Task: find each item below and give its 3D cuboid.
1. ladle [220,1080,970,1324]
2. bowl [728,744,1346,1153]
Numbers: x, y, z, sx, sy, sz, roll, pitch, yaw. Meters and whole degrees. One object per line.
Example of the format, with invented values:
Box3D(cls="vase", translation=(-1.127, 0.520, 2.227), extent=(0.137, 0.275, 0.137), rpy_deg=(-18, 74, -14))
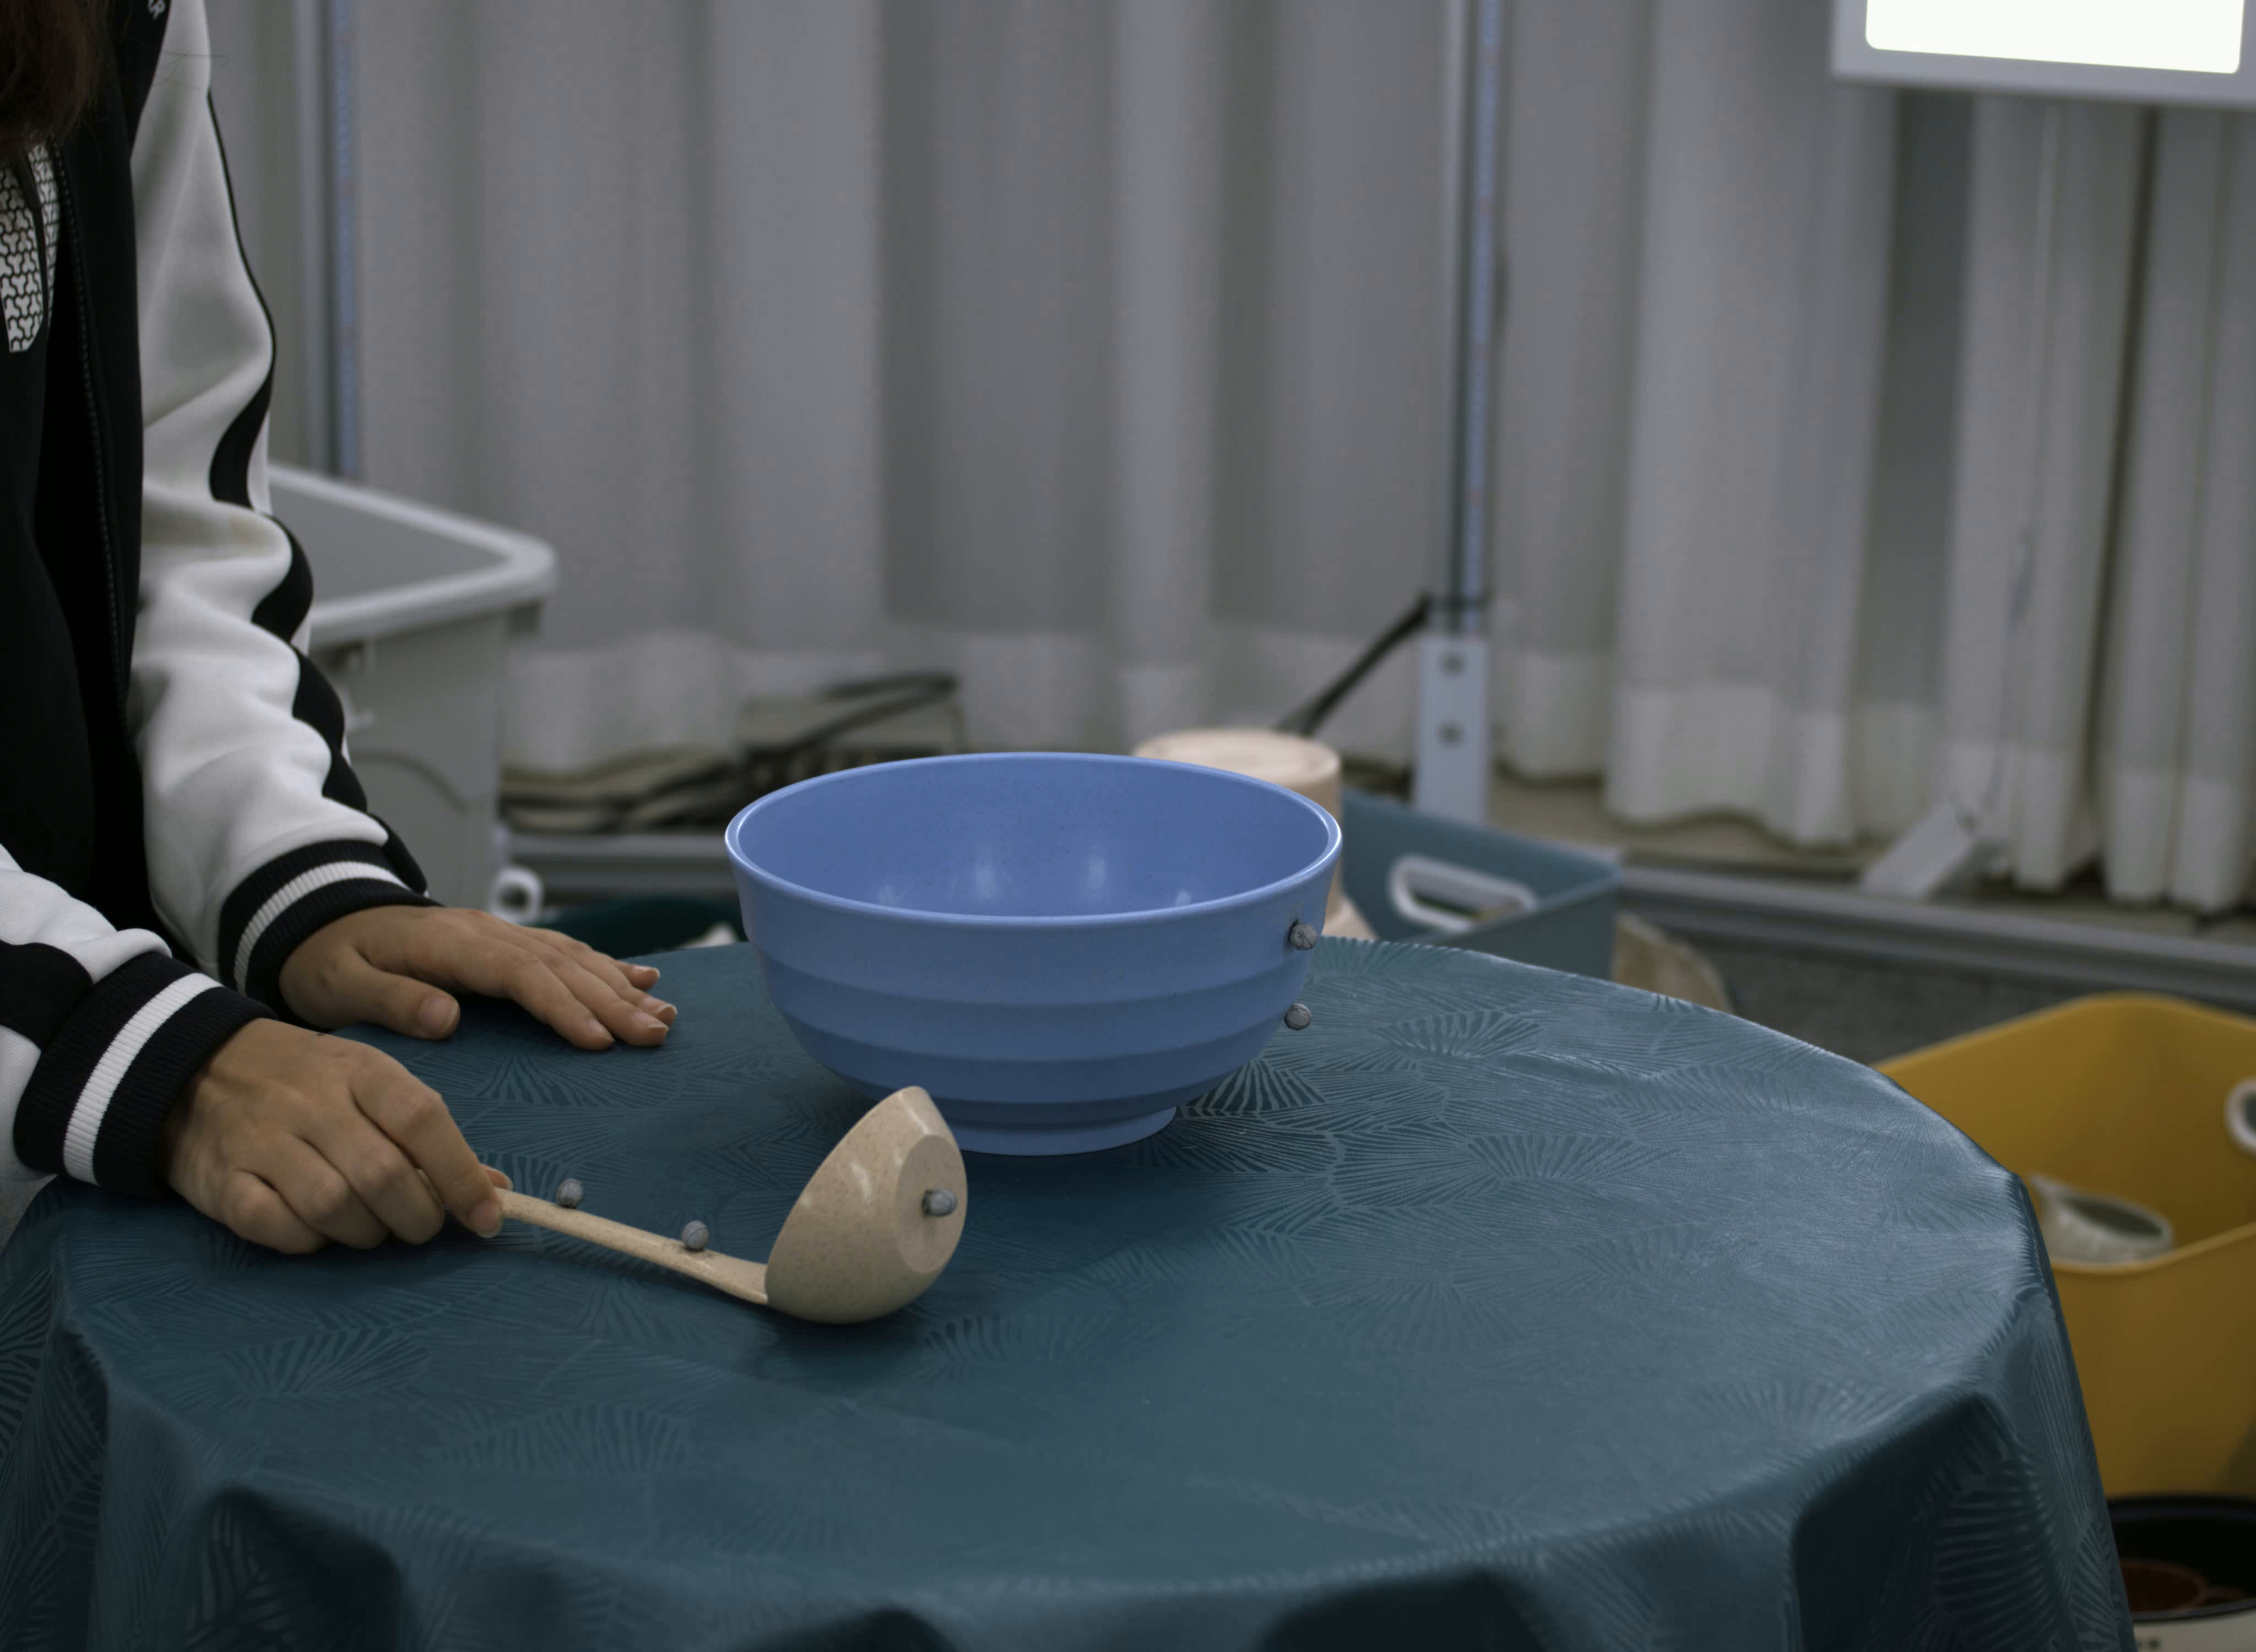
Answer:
Box3D(cls="ladle", translation=(-0.165, 0.093, 1.545), extent=(0.251, 0.073, 0.072), rpy_deg=(9, 19, 26))
Box3D(cls="bowl", translation=(-0.031, 0.045, 1.682), extent=(0.196, 0.096, 0.195), rpy_deg=(3, 16, 0))
